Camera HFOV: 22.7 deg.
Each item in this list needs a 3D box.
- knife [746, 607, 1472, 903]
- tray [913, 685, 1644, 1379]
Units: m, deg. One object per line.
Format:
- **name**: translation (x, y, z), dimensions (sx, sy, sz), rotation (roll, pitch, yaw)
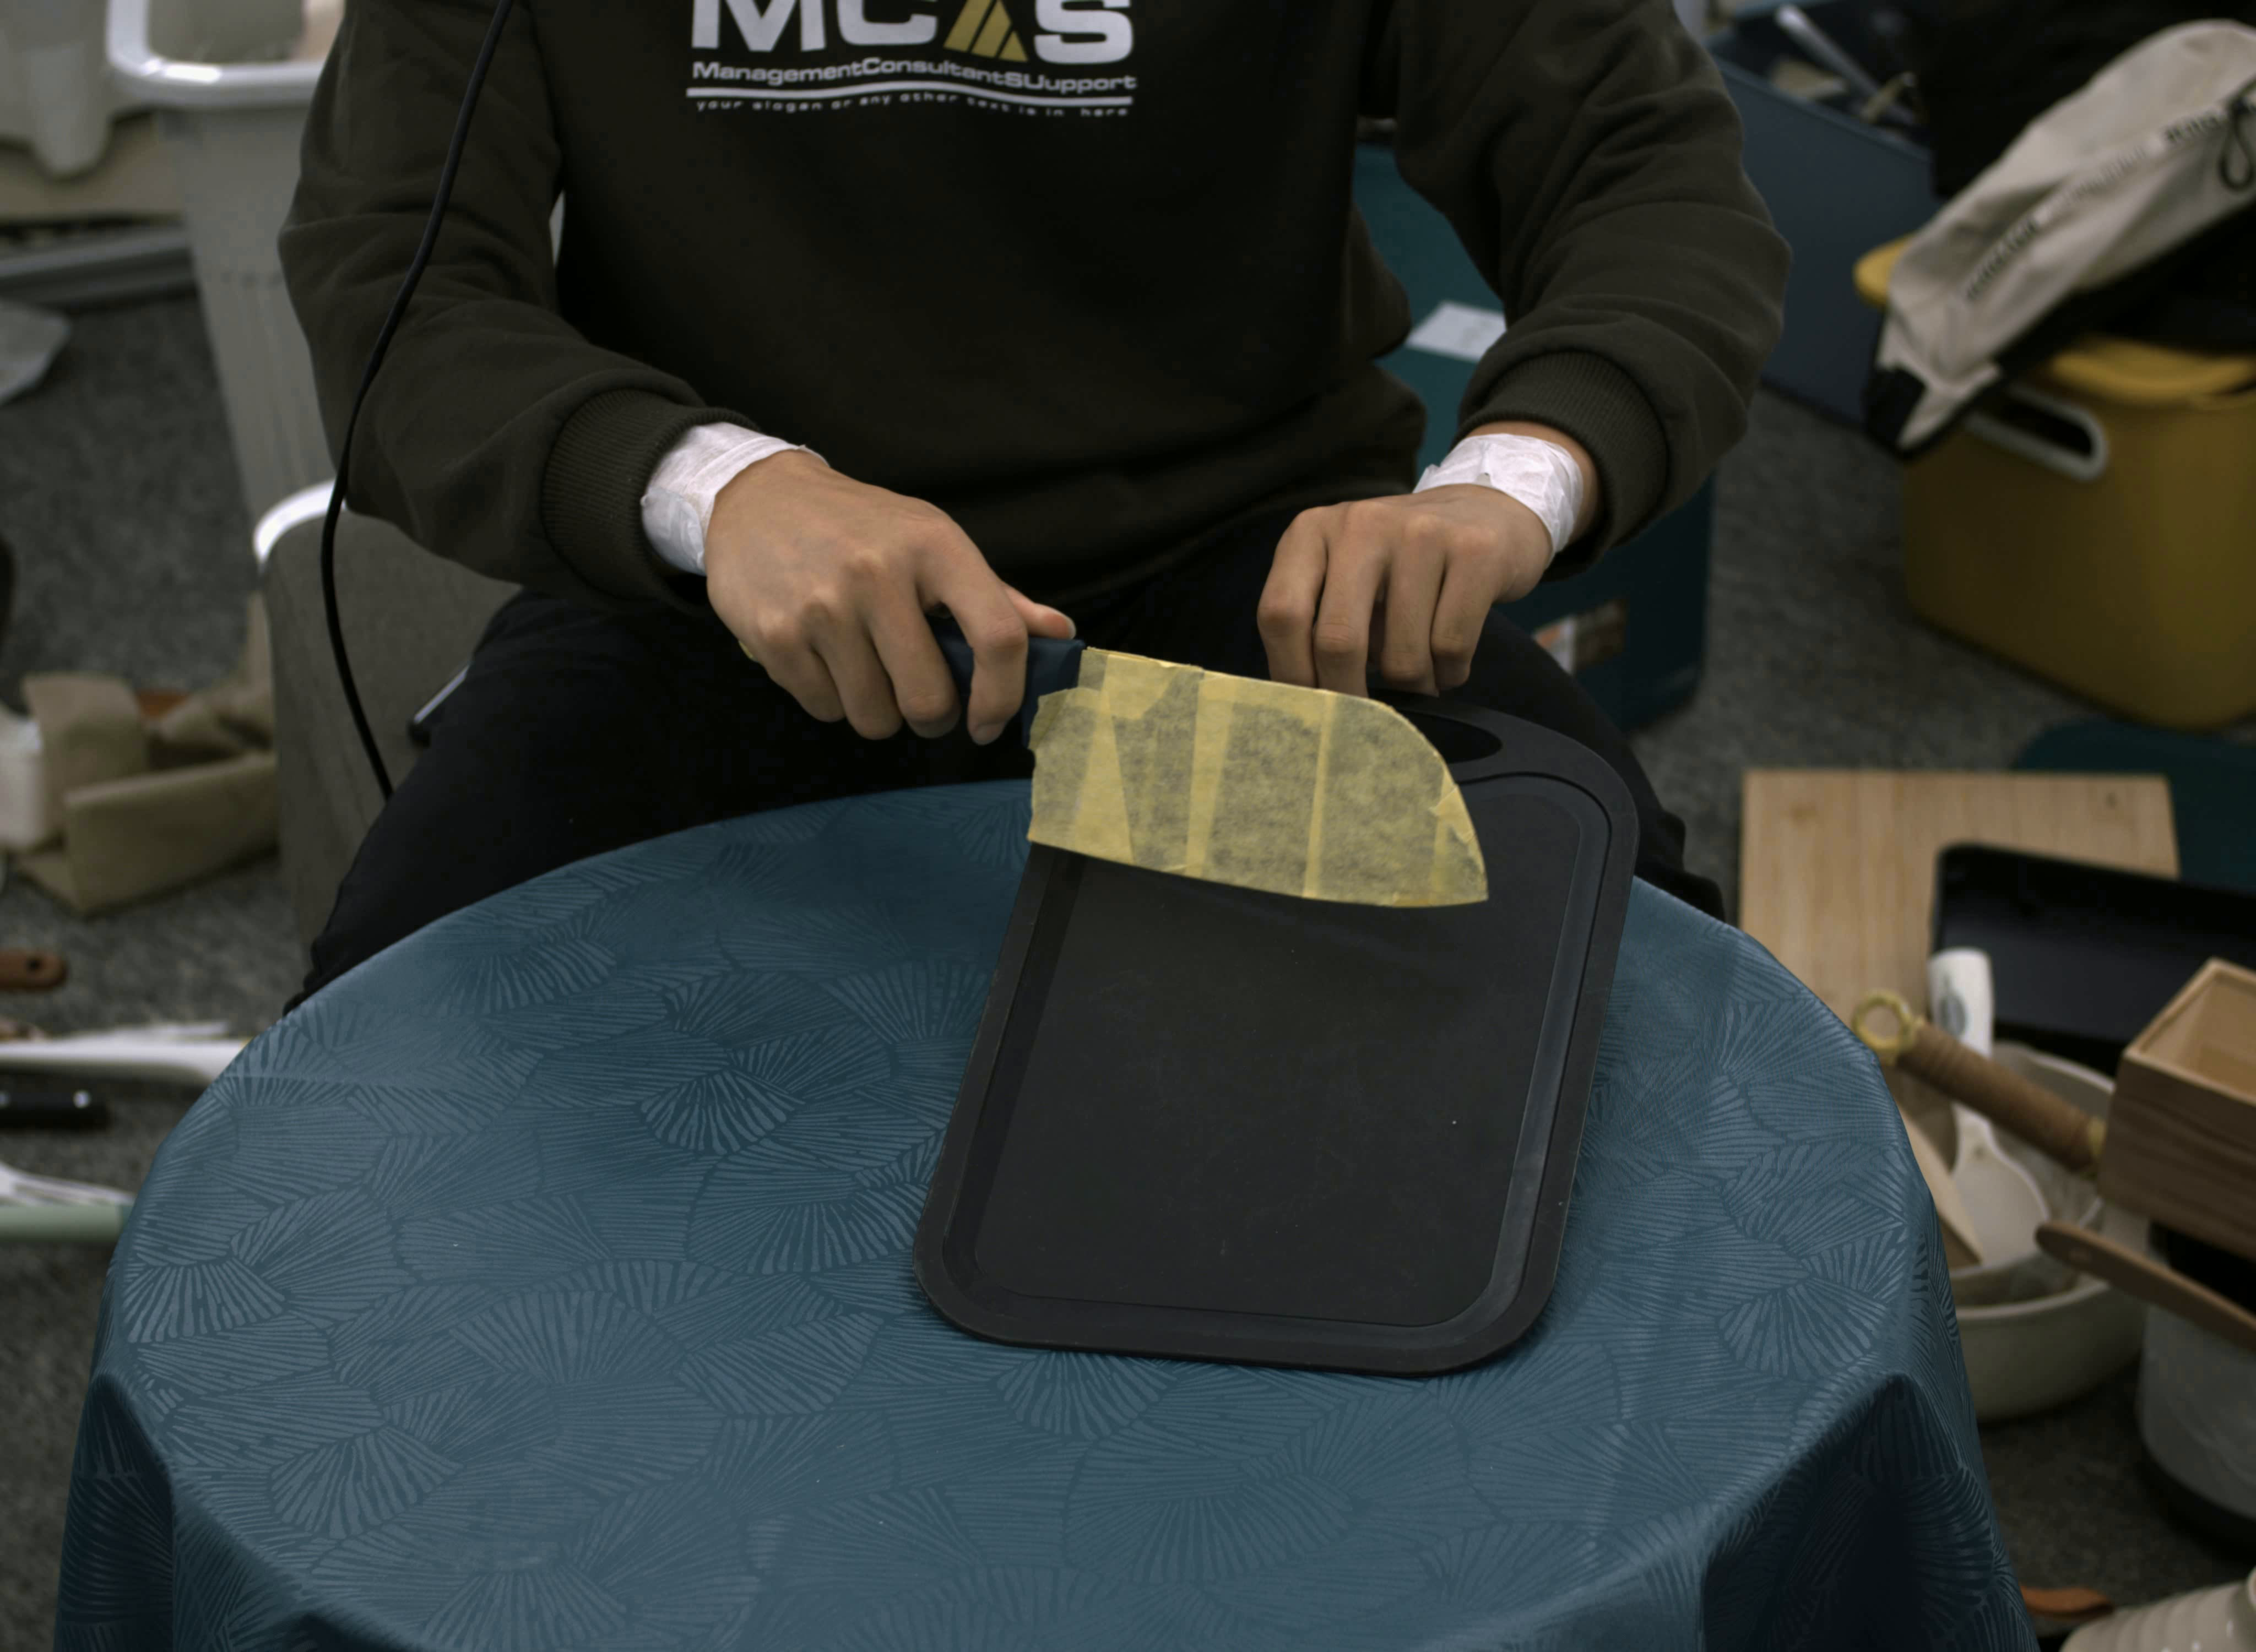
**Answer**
- **knife**: translation (-0.010, -0.026, 1.942), dimensions (0.288, 0.081, 0.027), rotation (15, 9, 26)
- **tray**: translation (0.055, 0.058, 1.885), dimensions (0.210, 0.009, 0.332), rotation (4, 42, 11)
